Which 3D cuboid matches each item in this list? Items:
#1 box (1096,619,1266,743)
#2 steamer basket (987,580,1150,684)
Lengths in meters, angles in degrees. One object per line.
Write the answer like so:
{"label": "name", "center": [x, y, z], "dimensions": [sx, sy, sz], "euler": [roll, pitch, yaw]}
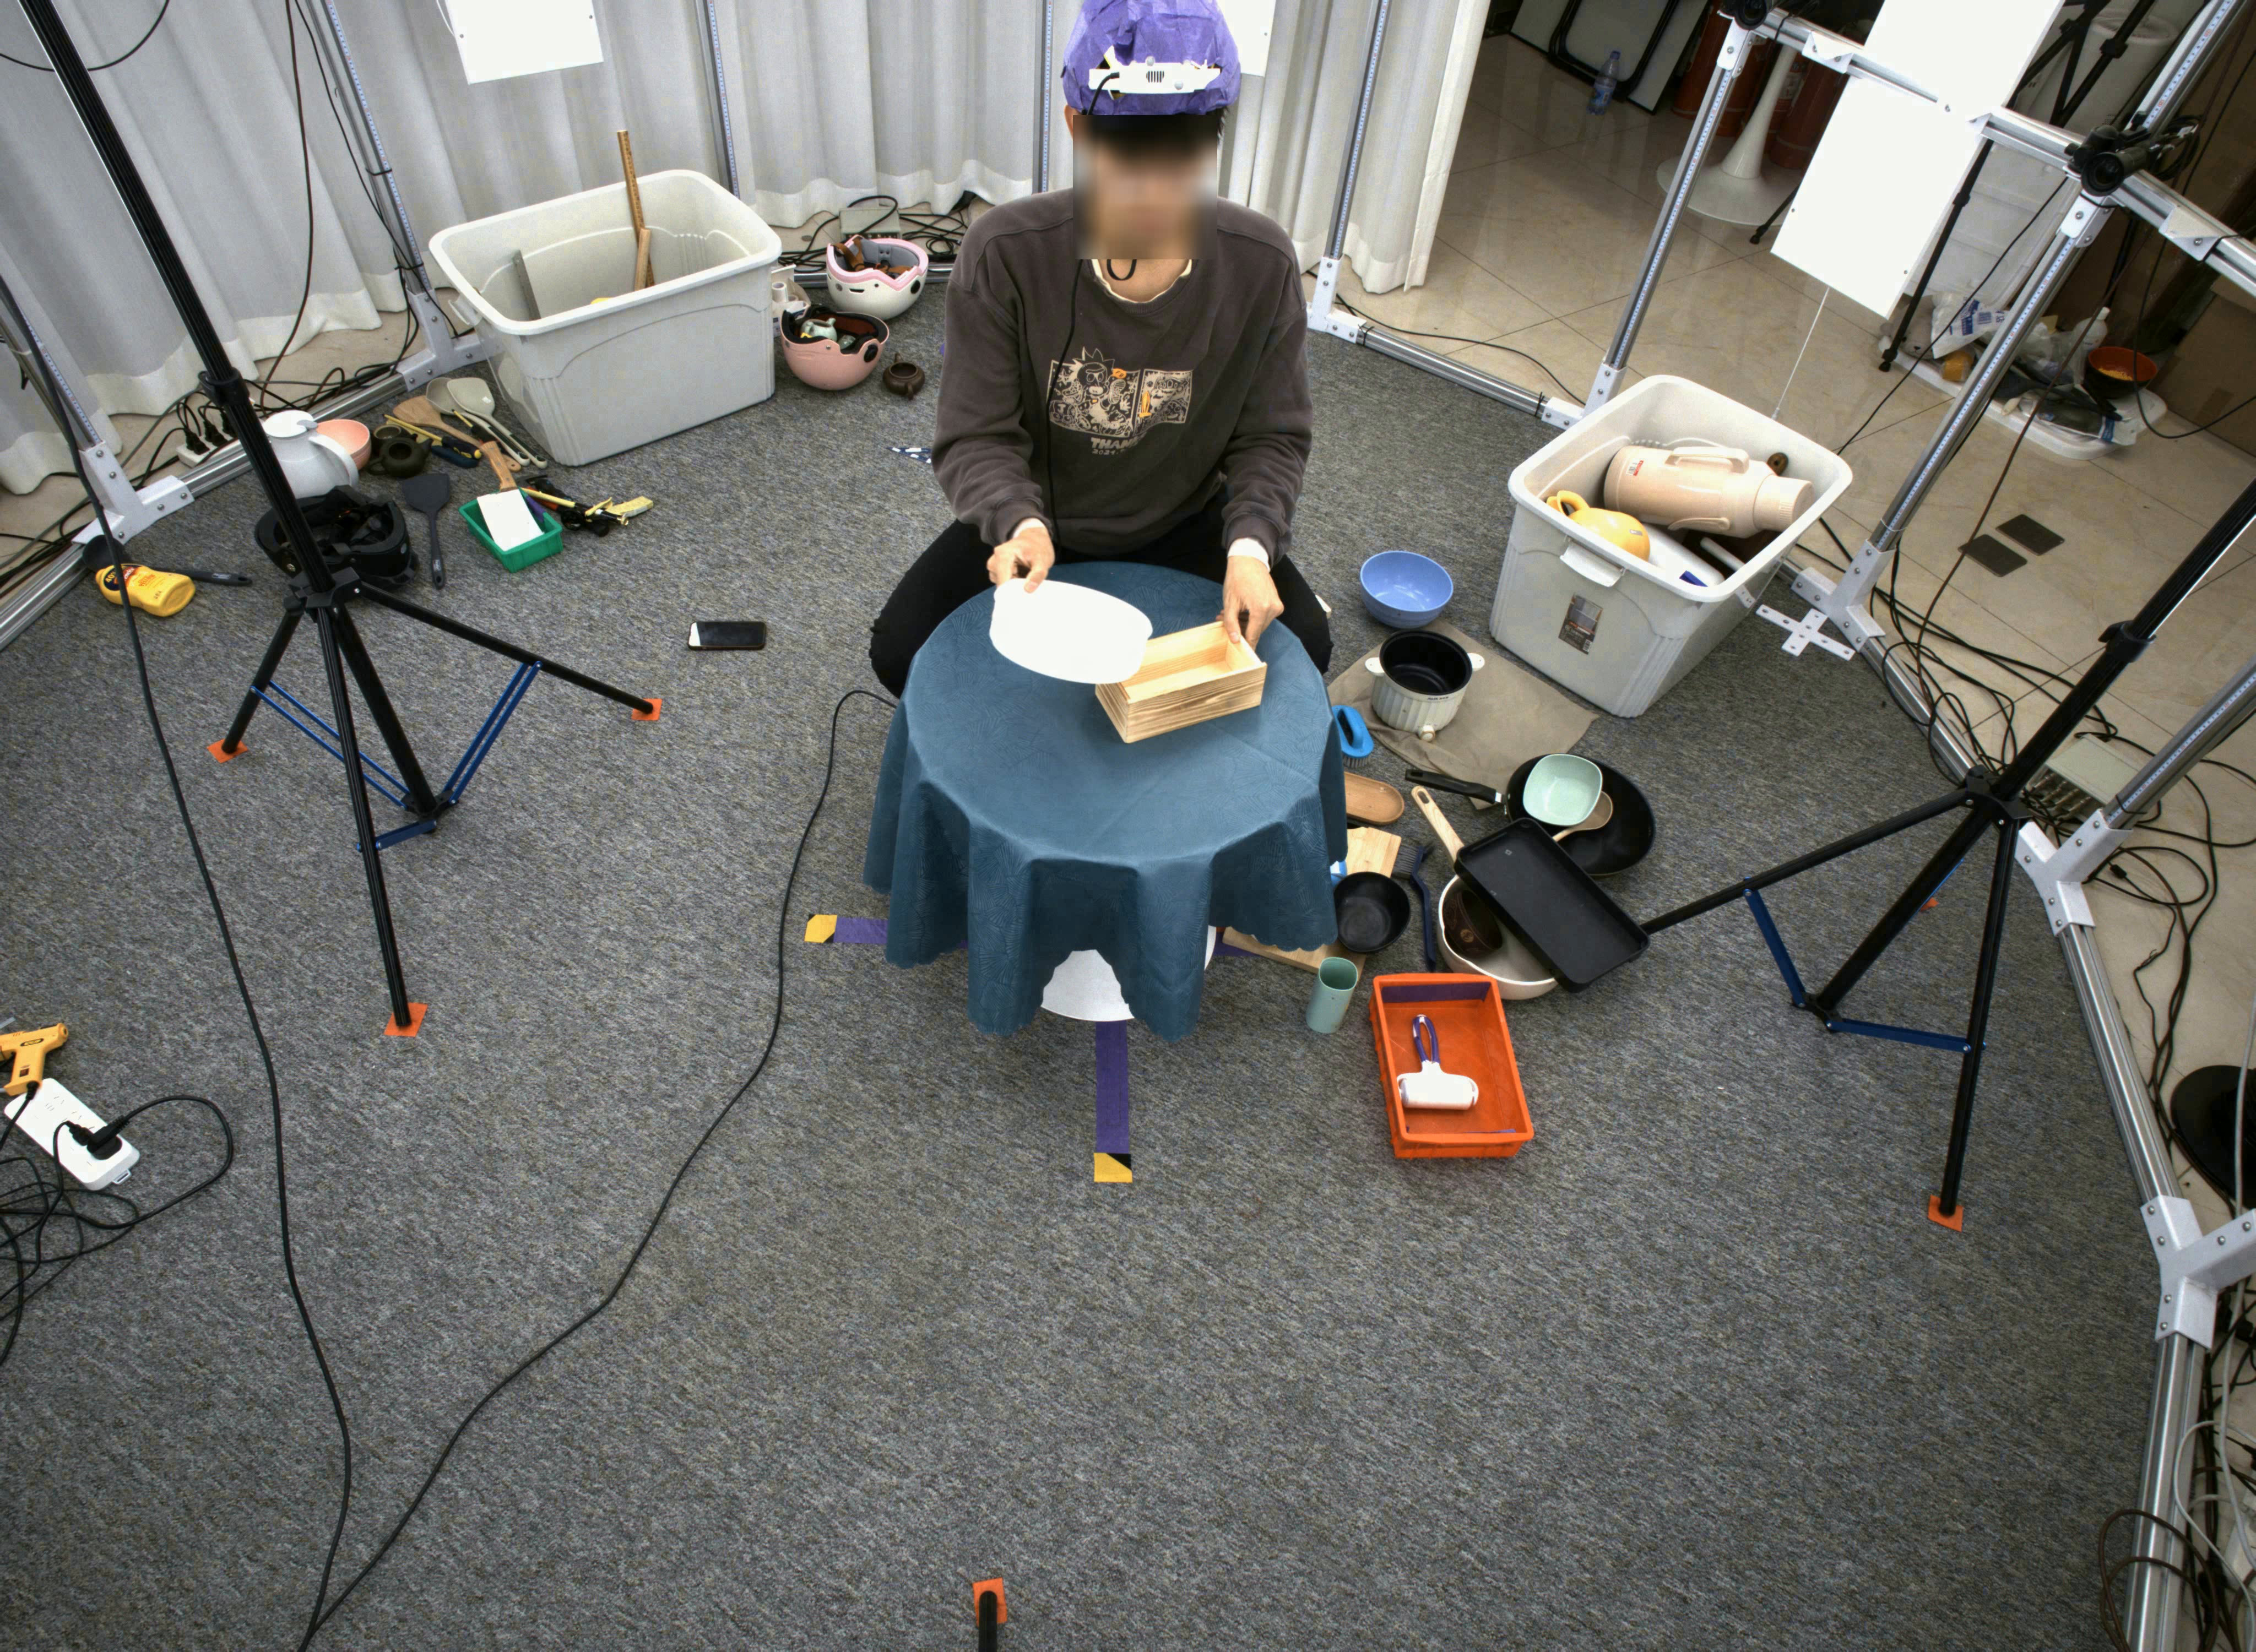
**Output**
{"label": "box", "center": [0.072, -0.204, 1.796], "dimensions": [0.211, 0.078, 0.110], "euler": [-17, 52, -18]}
{"label": "steamer basket", "center": [-0.076, -0.242, 1.604], "dimensions": [0.201, 0.068, 0.235], "euler": [-6, 31, -36]}
